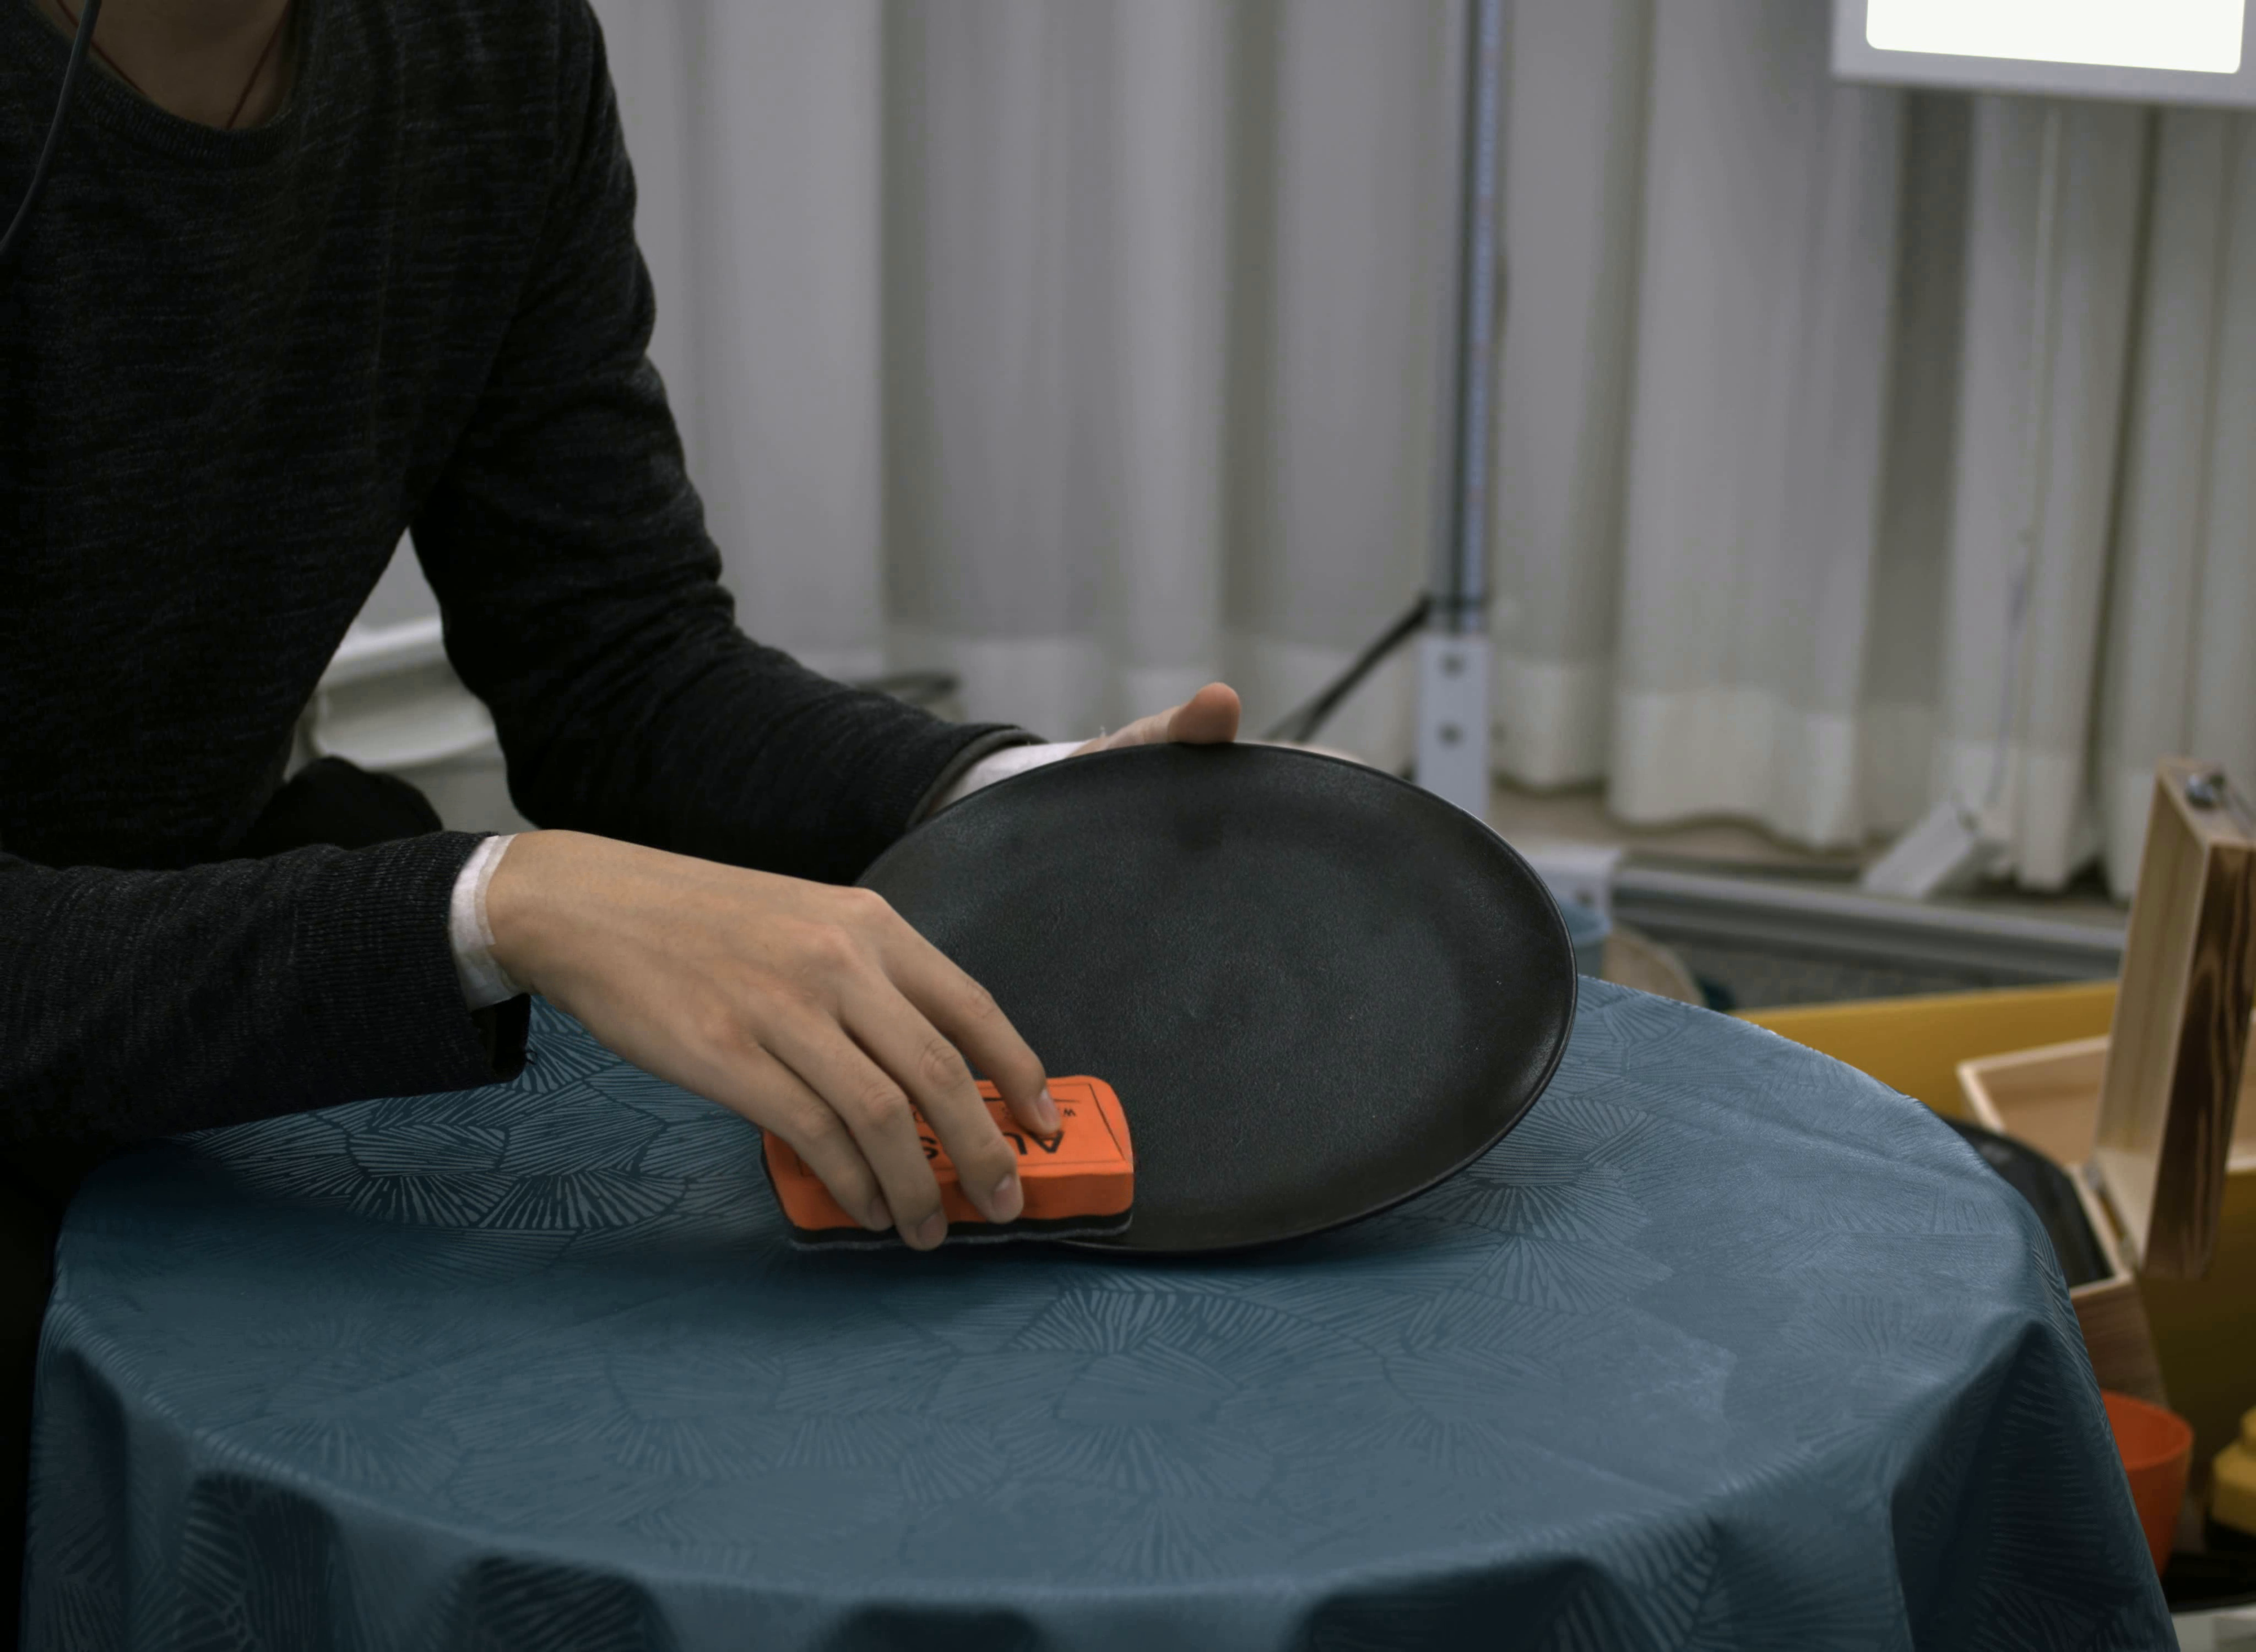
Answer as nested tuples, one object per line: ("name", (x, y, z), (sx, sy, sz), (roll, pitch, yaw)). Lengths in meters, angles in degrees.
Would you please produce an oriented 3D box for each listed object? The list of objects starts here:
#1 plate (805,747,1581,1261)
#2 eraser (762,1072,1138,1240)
("plate", (0.021, 0.057, 1.650), (0.243, 0.024, 0.242), (-2, 39, 2))
("eraser", (-0.053, 0.098, 1.571), (0.108, 0.023, 0.058), (-1, 29, -11))
